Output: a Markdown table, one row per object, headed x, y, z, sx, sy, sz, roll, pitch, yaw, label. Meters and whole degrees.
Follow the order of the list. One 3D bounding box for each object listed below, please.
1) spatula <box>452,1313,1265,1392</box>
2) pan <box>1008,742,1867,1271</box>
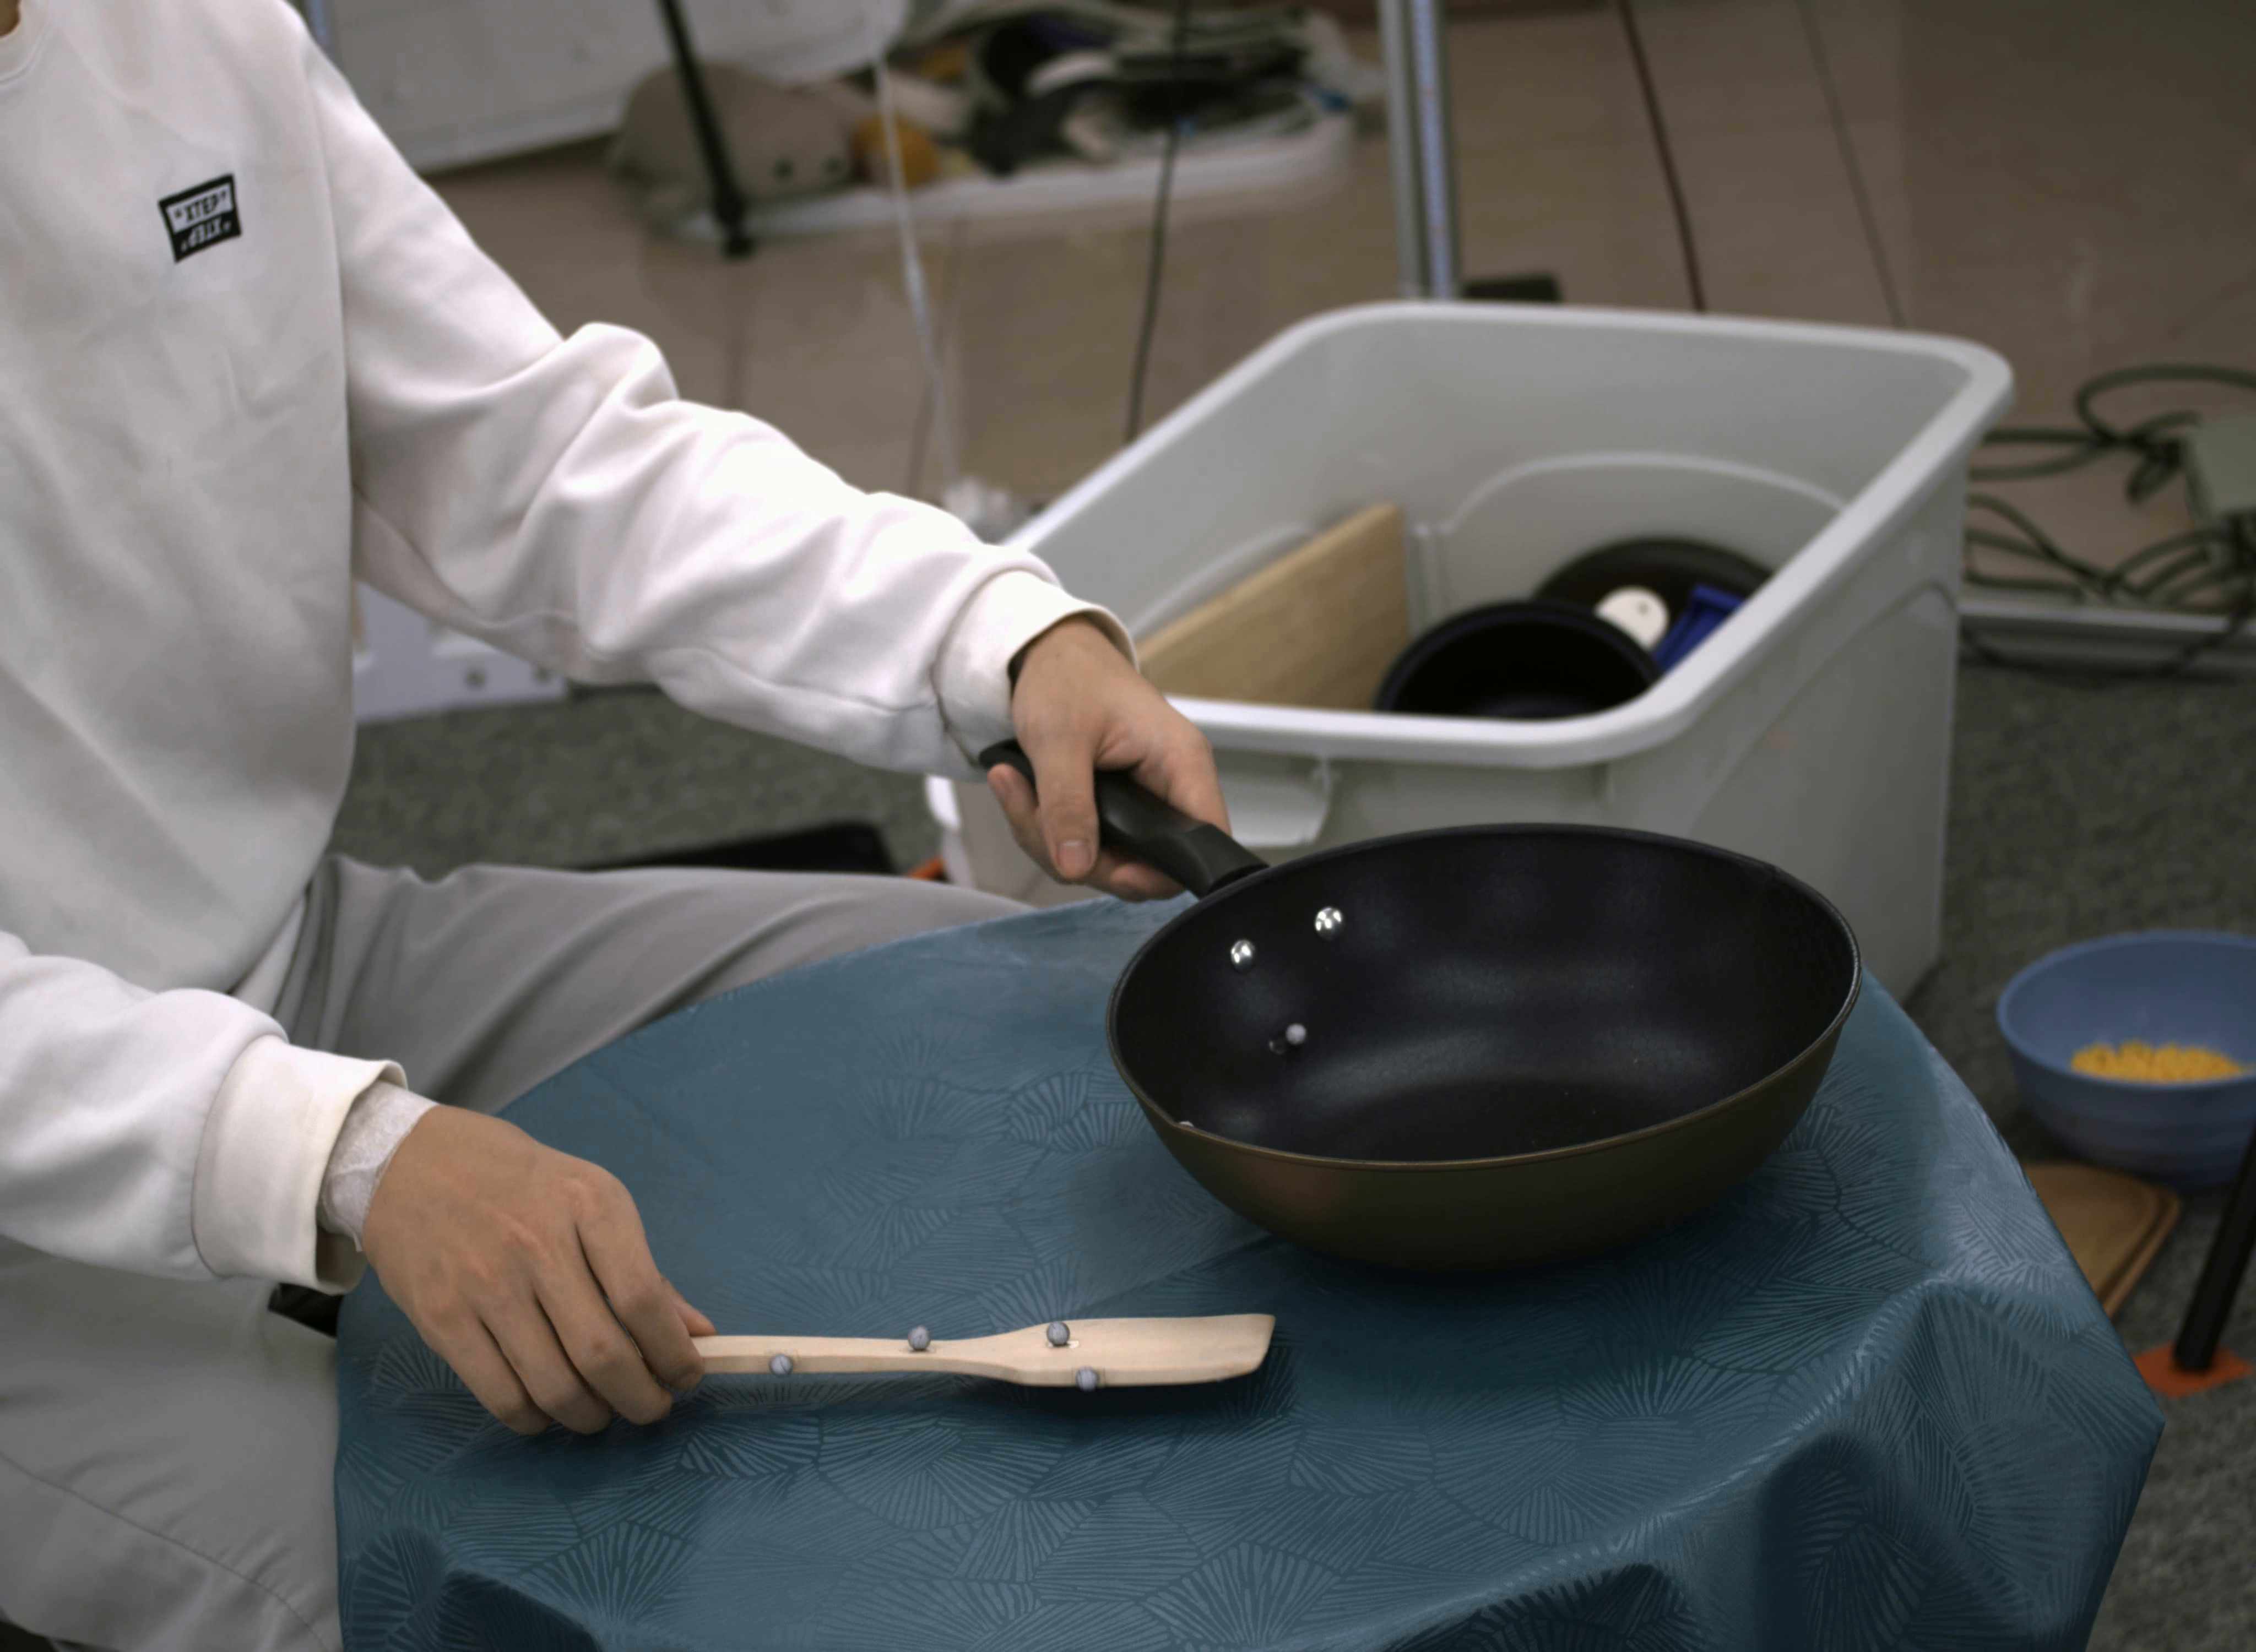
| x | y | z | sx | sy | sz | roll | pitch | yaw | label |
| --- | --- | --- | --- | --- | --- | --- | --- | --- | --- |
| -0.098 | 0.189 | 2.027 | 0.292 | 0.011 | 0.071 | -1 | 13 | 6 | spatula |
| 0.084 | 0.066 | 2.179 | 0.286 | 0.088 | 0.459 | -21 | 28 | -29 | pan |
